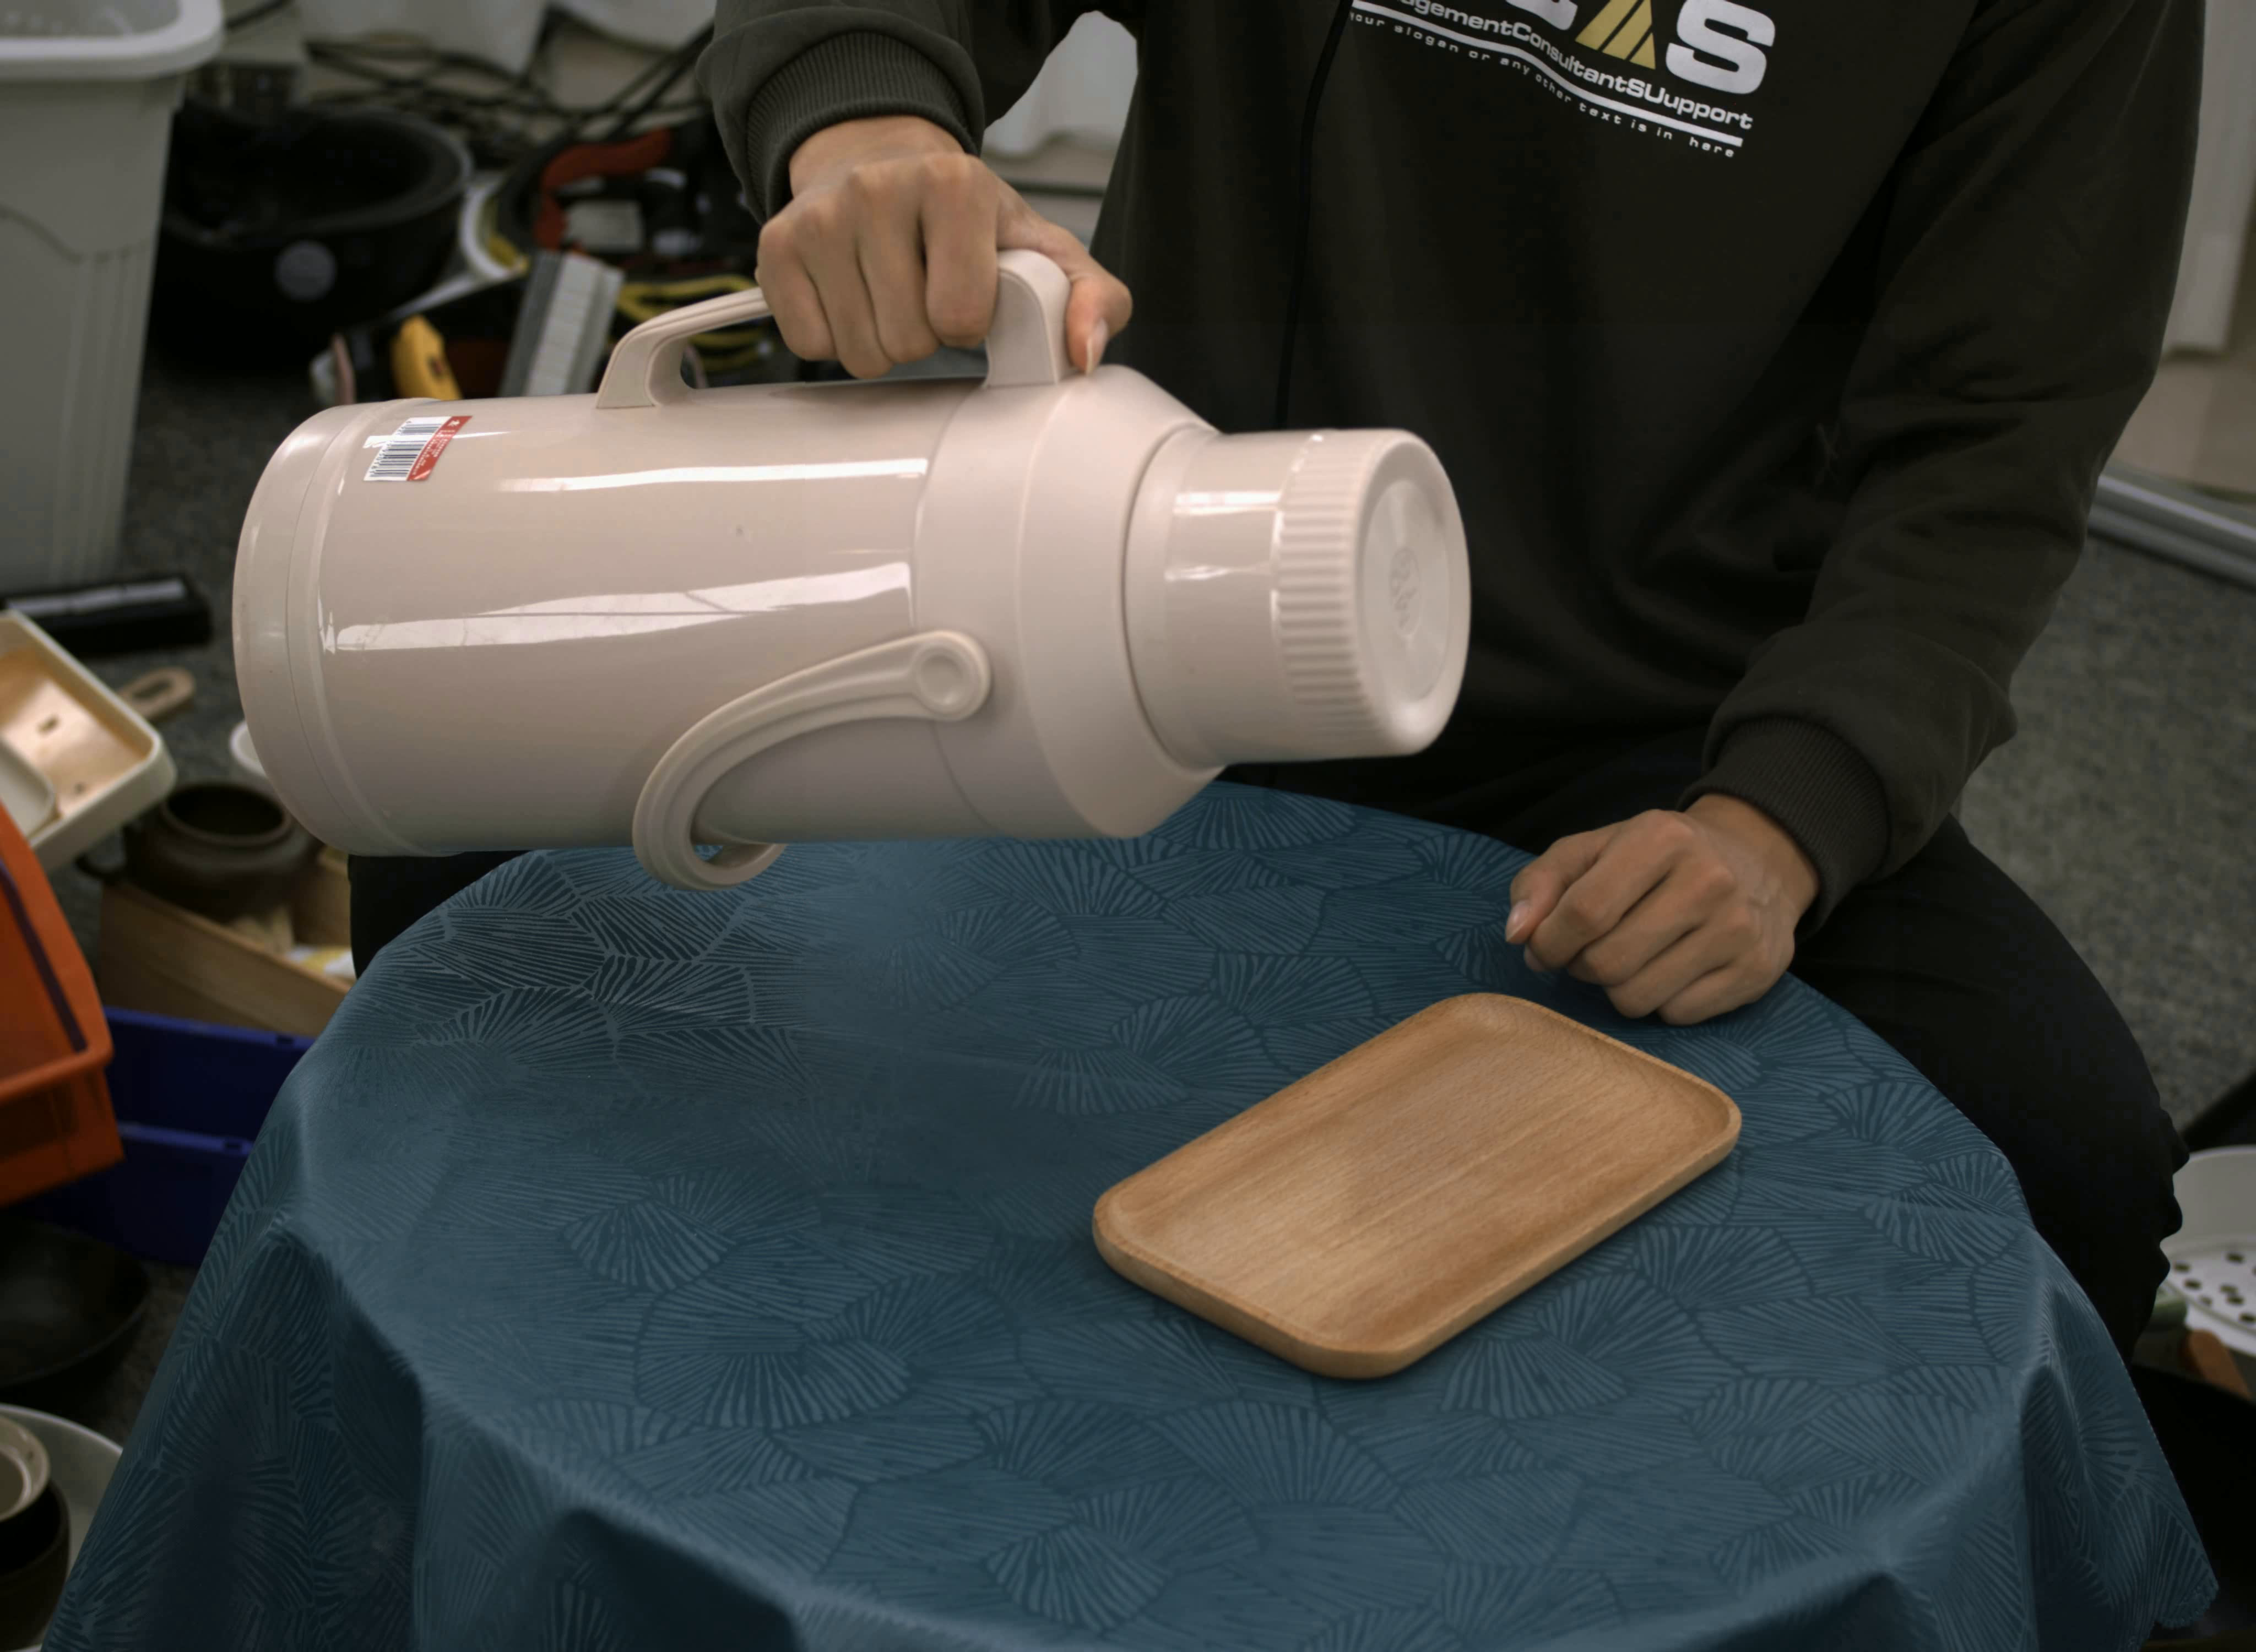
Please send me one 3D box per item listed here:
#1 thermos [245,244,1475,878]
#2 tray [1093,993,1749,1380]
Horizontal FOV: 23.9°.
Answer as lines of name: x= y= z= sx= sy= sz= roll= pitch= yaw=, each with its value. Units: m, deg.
thermos: x=-0.091 y=-0.087 z=1.786 sx=0.407 sy=0.206 sz=0.175 roll=-1 pitch=17 yaw=27
tray: x=0.102 y=0.121 z=1.819 sx=0.131 sy=0.023 sz=0.249 roll=27 pitch=32 yaw=30
